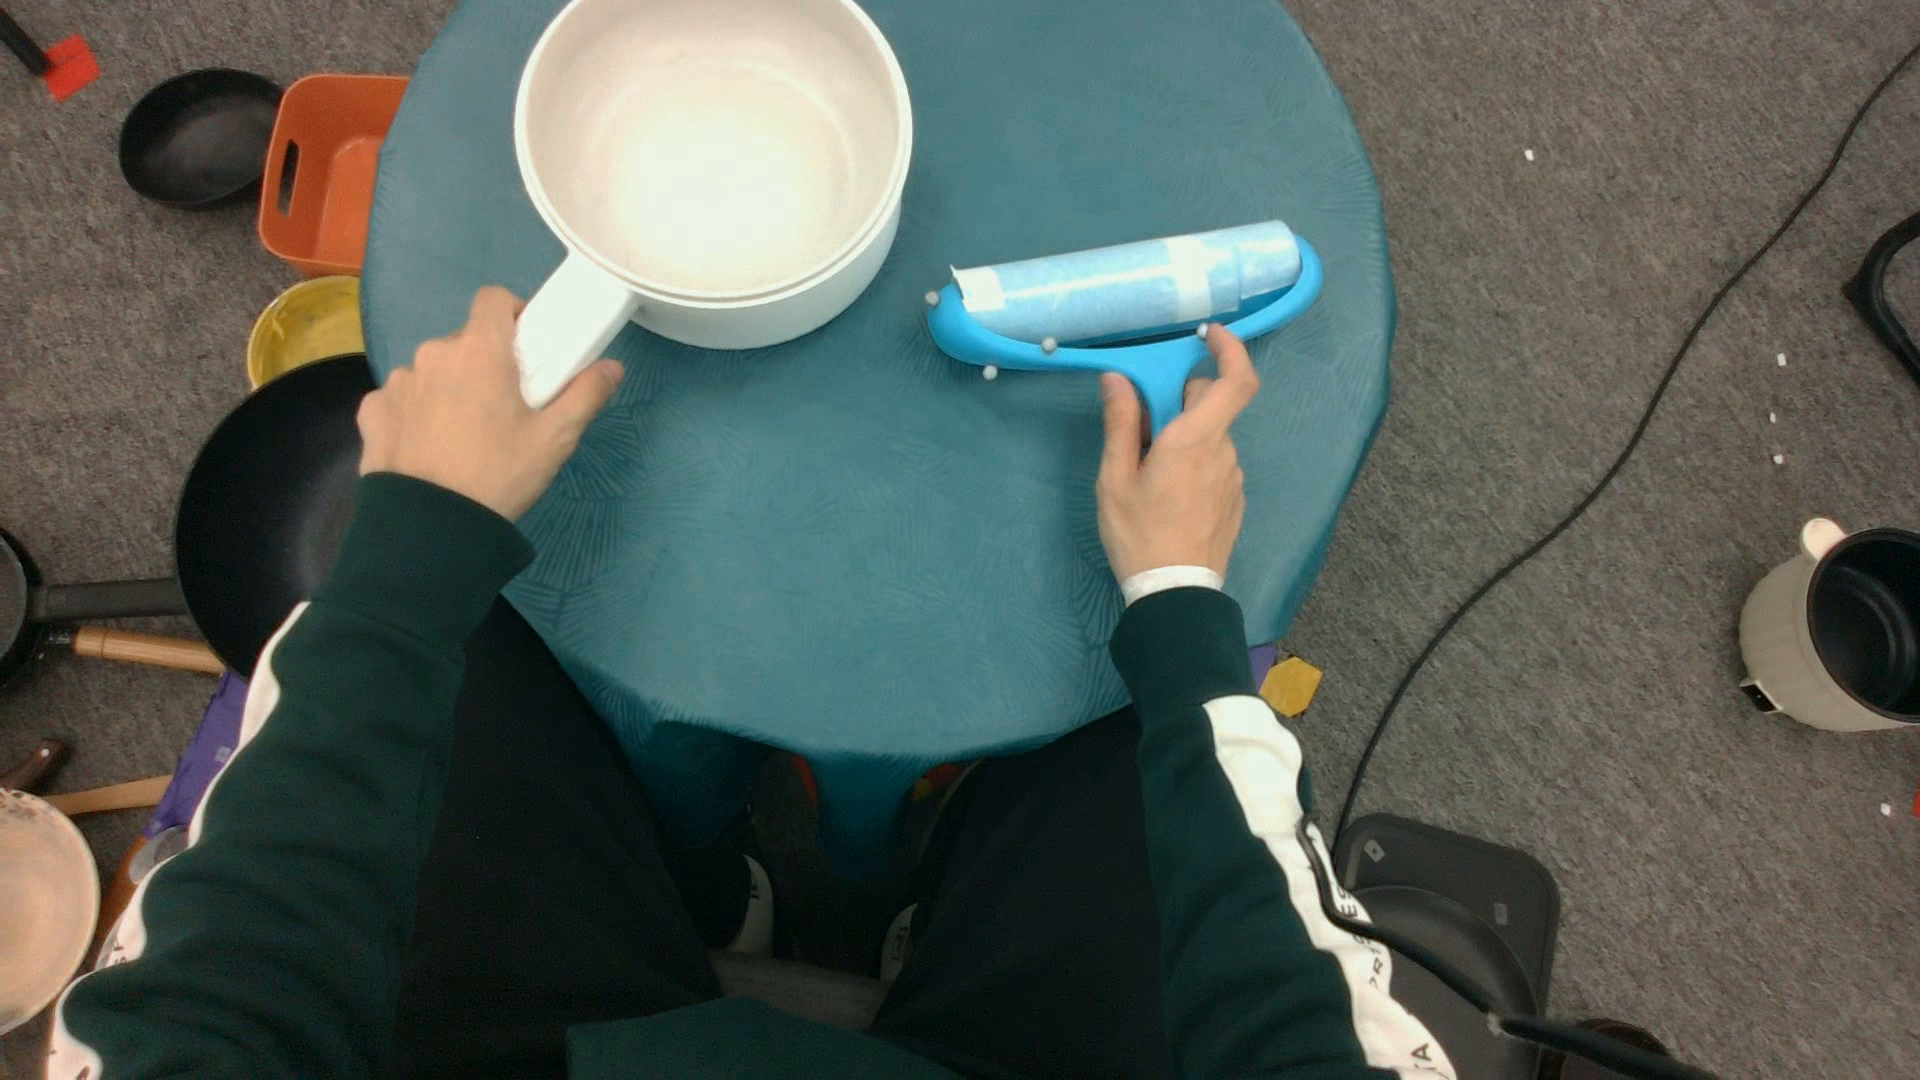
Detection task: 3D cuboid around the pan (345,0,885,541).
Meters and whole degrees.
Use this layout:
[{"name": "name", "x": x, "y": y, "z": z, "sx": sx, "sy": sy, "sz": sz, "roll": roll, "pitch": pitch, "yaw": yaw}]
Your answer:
[{"name": "pan", "x": -0.184, "y": -0.147, "z": 0.736, "sx": 0.201, "sy": 0.102, "sz": 0.355, "roll": 33, "pitch": 78, "yaw": 2}]

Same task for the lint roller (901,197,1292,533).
[{"name": "lint roller", "x": 0.095, "y": -0.097, "z": 0.773, "sx": 0.229, "sy": 0.067, "sz": 0.180, "roll": -14, "pitch": 76, "yaw": -11}]
